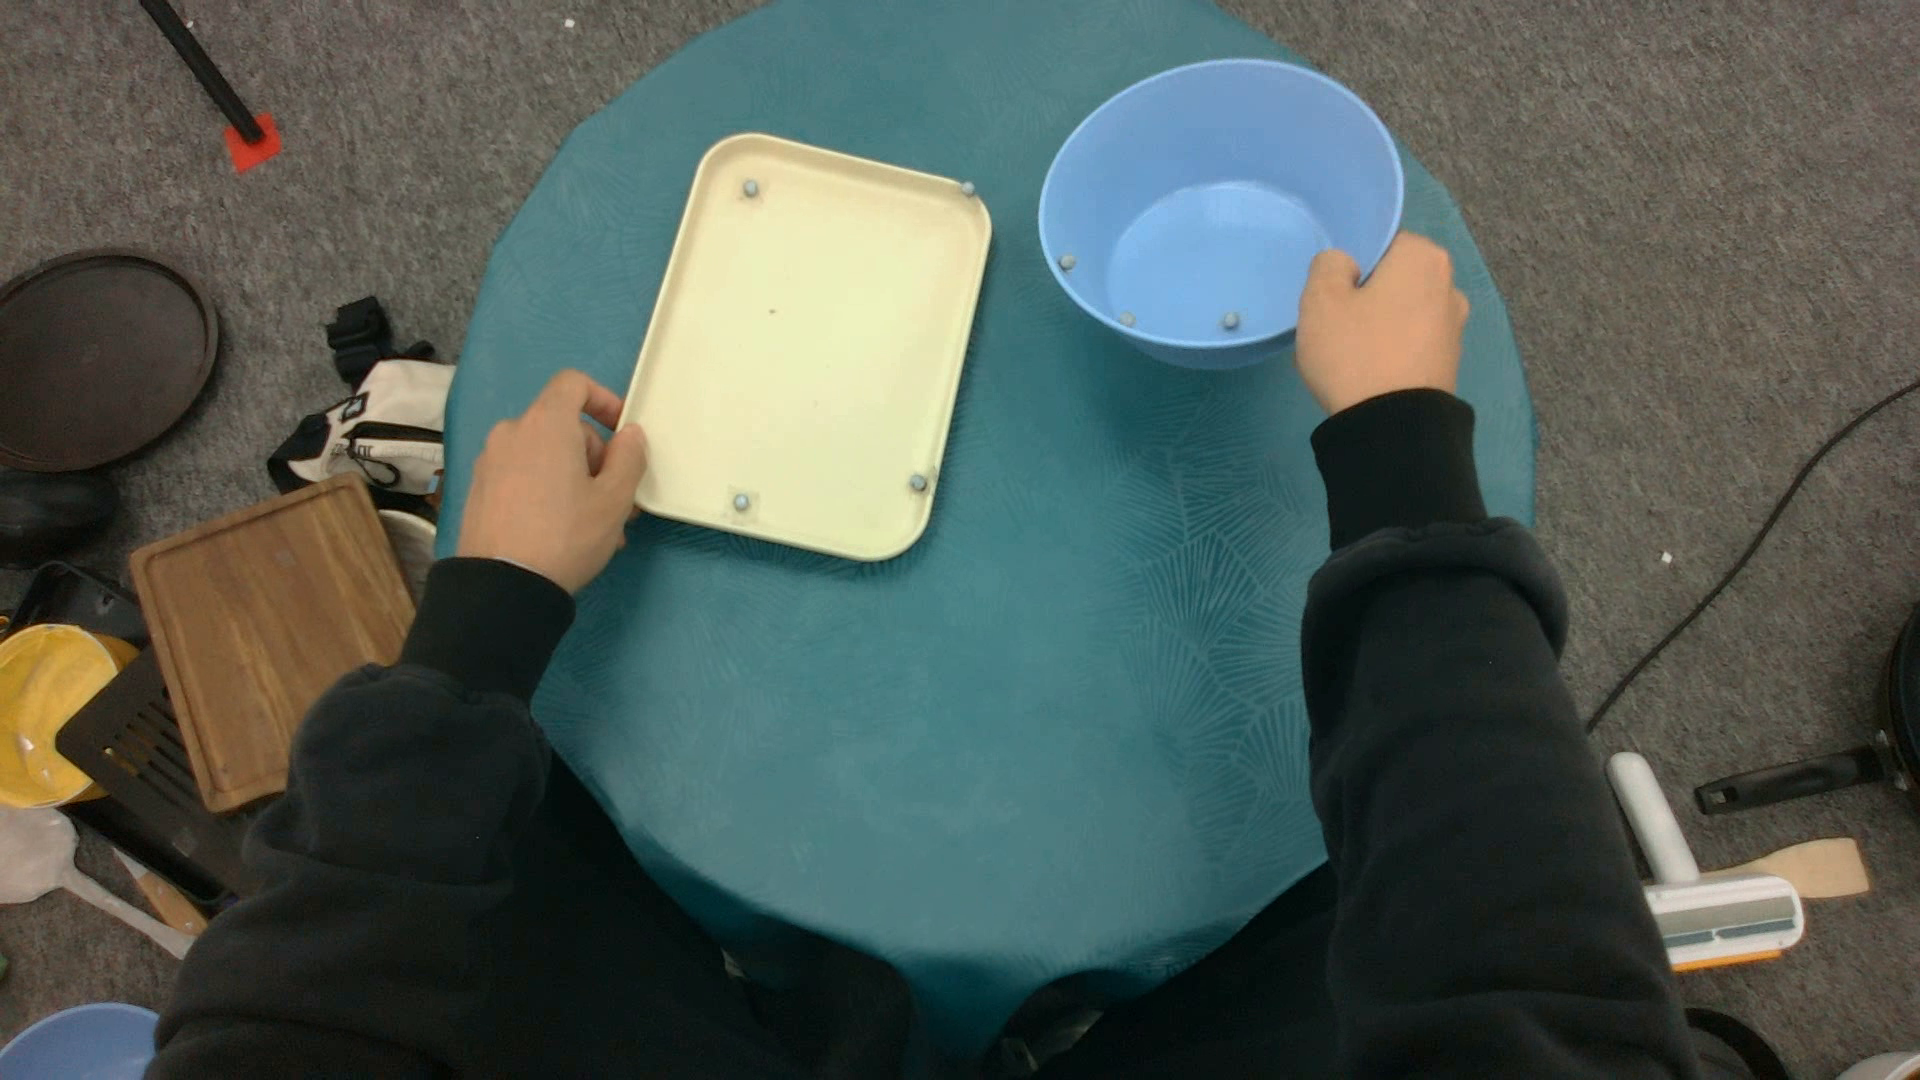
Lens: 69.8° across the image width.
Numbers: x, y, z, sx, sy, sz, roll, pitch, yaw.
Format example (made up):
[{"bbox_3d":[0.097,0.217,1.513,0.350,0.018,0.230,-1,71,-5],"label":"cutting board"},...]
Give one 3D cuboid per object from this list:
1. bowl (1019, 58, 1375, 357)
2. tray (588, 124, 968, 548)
[{"bbox_3d":[0.121,-0.161,0.714,0.176,0.070,0.177,-4,62,8],"label":"bowl"},{"bbox_3d":[-0.095,-0.115,0.756,0.171,0.017,0.240,12,69,-2],"label":"tray"}]
